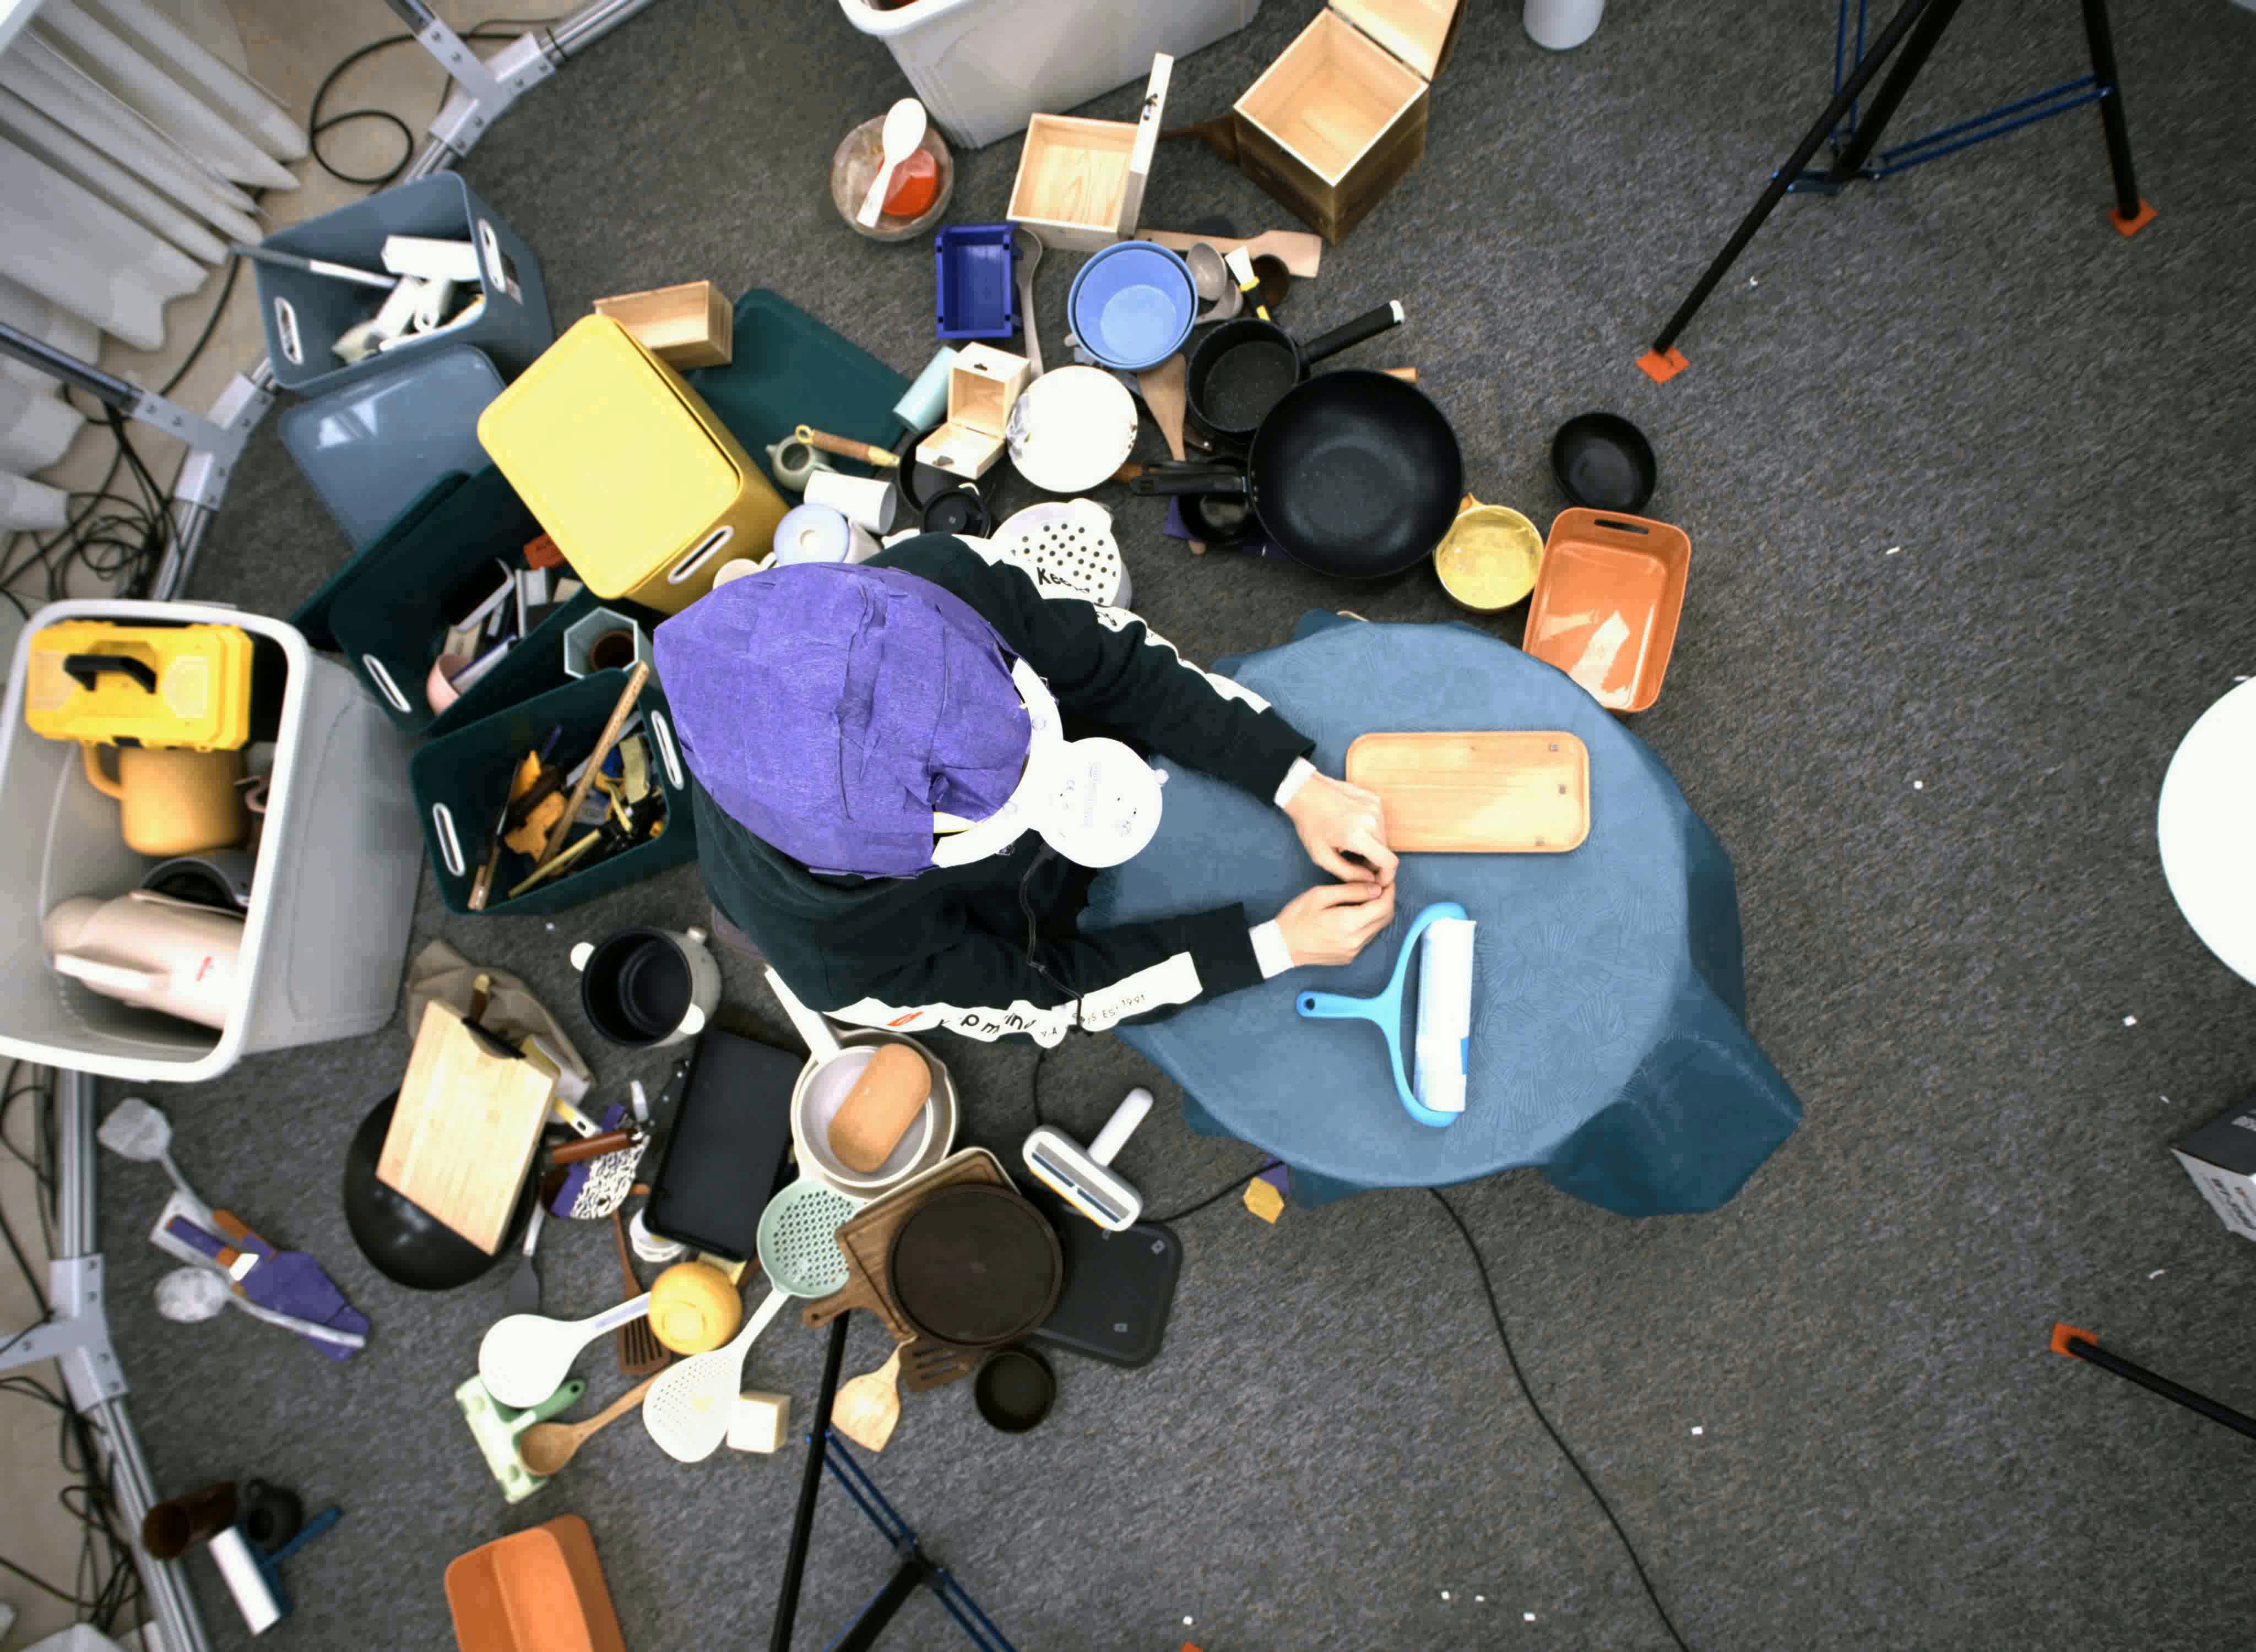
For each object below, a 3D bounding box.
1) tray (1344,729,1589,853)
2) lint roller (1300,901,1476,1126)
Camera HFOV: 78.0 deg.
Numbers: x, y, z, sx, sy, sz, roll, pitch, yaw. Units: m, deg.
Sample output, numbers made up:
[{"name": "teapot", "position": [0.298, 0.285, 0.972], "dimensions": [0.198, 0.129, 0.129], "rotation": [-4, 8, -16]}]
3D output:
[{"name": "tray", "position": [0.353, -0.039, 1.437], "dimensions": [0.251, 0.023, 0.130], "rotation": [1, 85, 11]}, {"name": "lint roller", "position": [0.266, 0.189, 1.421], "dimensions": [0.181, 0.068, 0.228], "rotation": [0, 88, 10]}]
